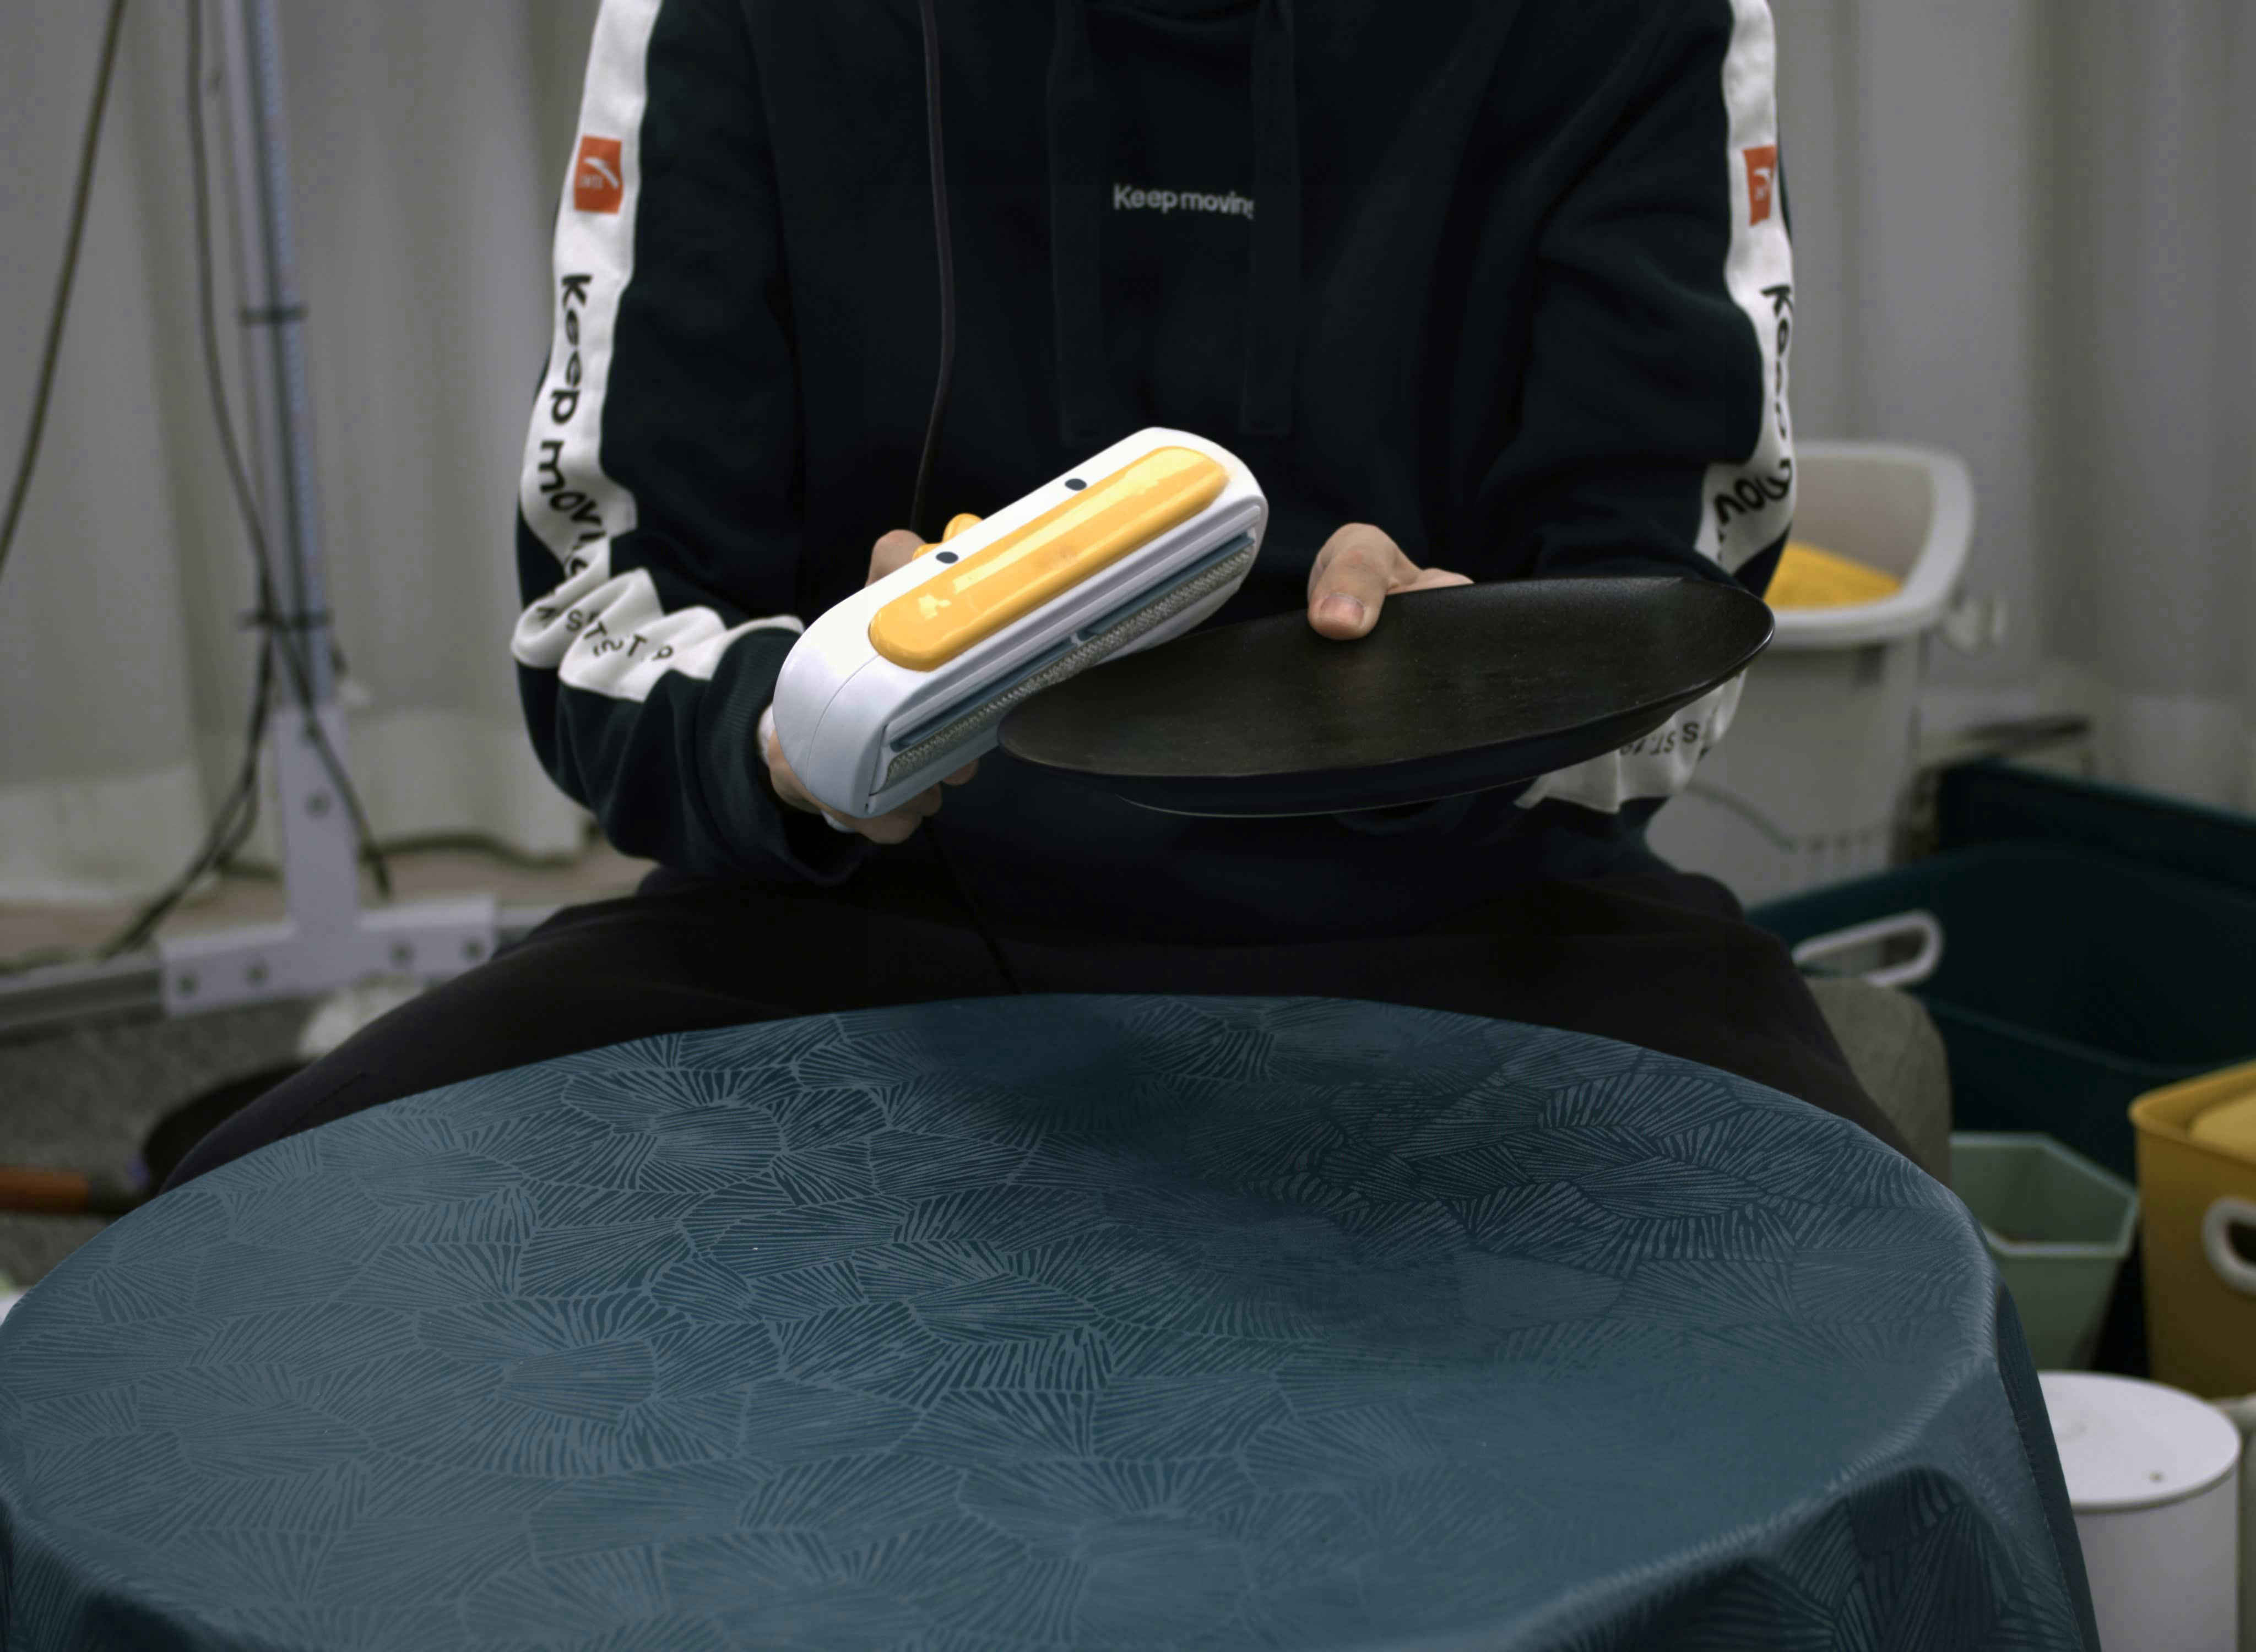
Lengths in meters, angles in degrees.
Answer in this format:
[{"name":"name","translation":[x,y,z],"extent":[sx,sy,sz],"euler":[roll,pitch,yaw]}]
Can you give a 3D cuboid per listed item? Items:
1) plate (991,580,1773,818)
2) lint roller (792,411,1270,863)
[{"name":"plate","translation":[0.079,-0.037,1.696],"extent":[0.243,0.023,0.246],"euler":[-8,13,2]},{"name":"lint roller","translation":[-0.052,-0.041,1.818],"extent":[0.074,0.190,0.193],"euler":[42,49,14]}]
